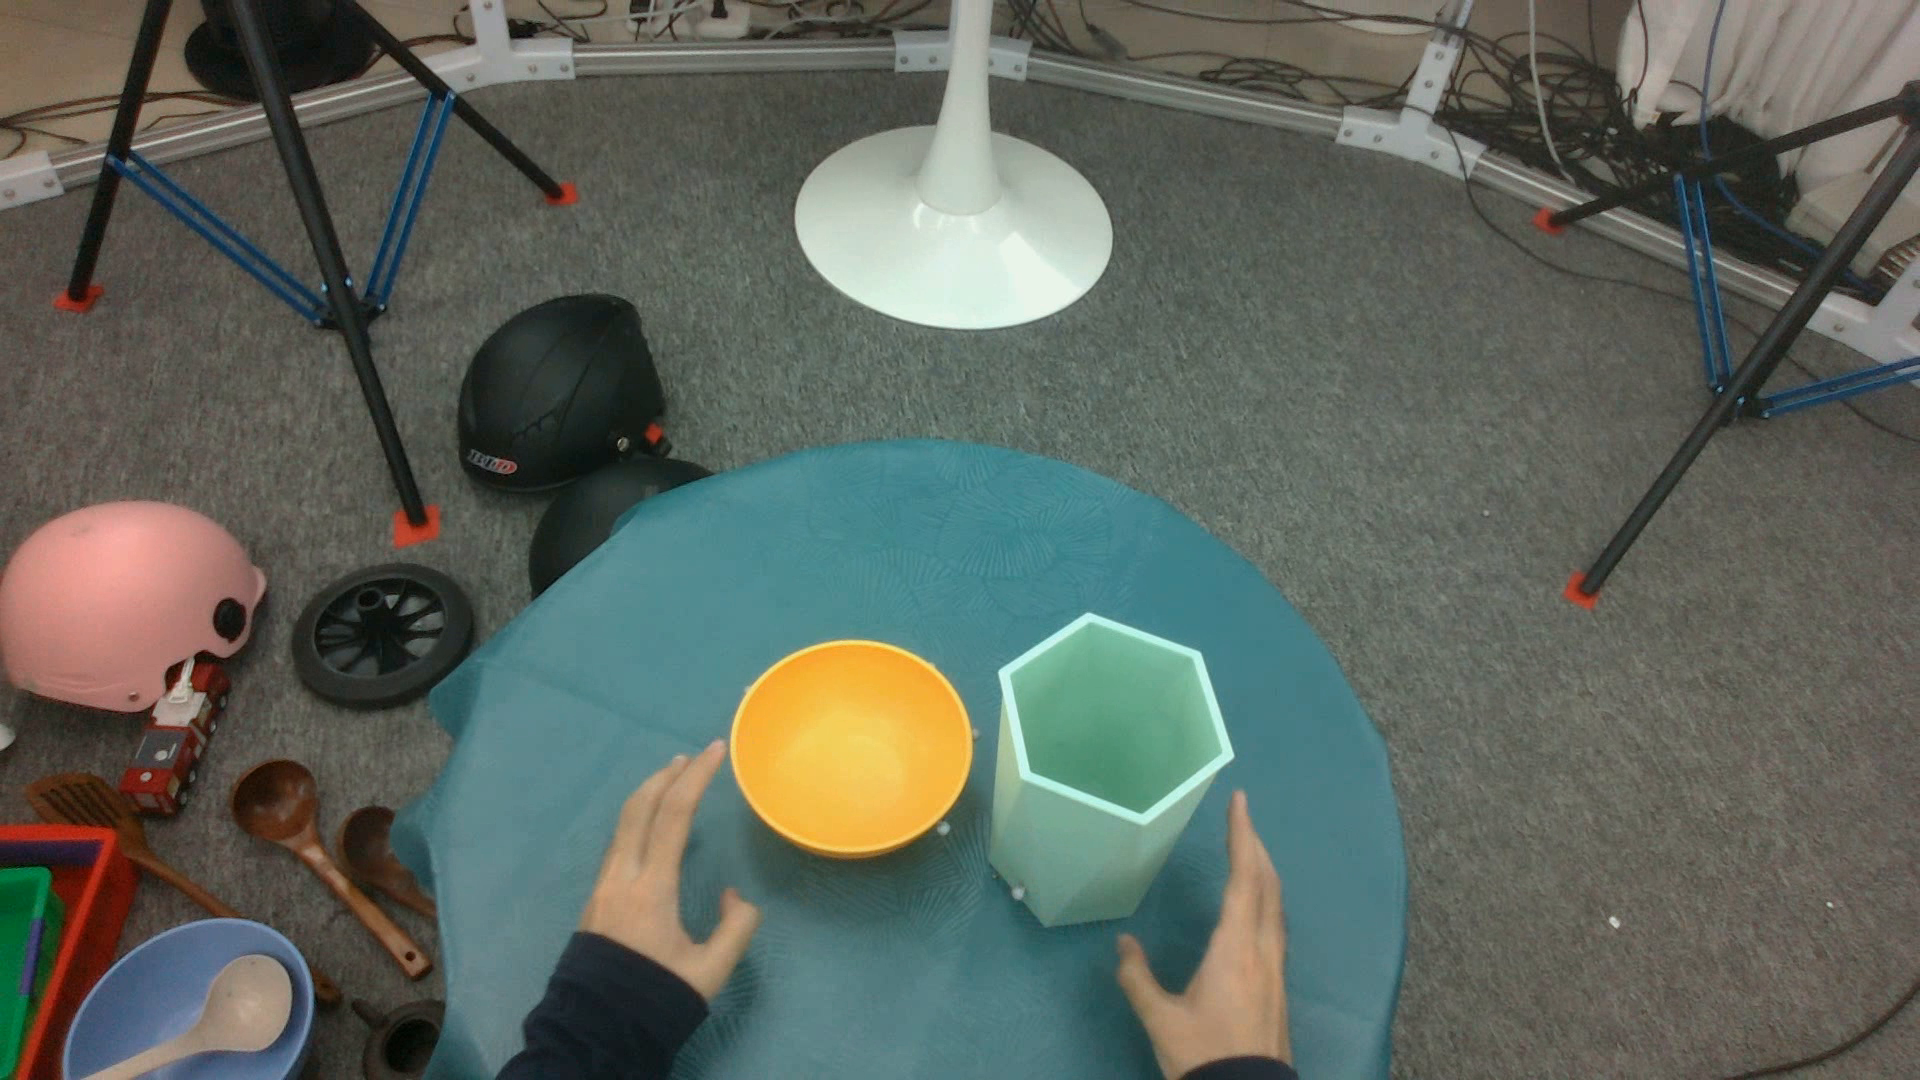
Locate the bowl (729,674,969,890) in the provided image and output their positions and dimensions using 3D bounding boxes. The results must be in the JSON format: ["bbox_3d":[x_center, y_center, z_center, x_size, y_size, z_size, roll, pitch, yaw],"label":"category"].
[{"bbox_3d":[-0.068,0.159,0.852,0.145,0.060,0.146,2,51,-2],"label":"bowl"}]

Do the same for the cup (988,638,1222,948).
[{"bbox_3d":[0.072,0.155,0.796,0.131,0.162,0.116,17,51,9],"label":"cup"}]
